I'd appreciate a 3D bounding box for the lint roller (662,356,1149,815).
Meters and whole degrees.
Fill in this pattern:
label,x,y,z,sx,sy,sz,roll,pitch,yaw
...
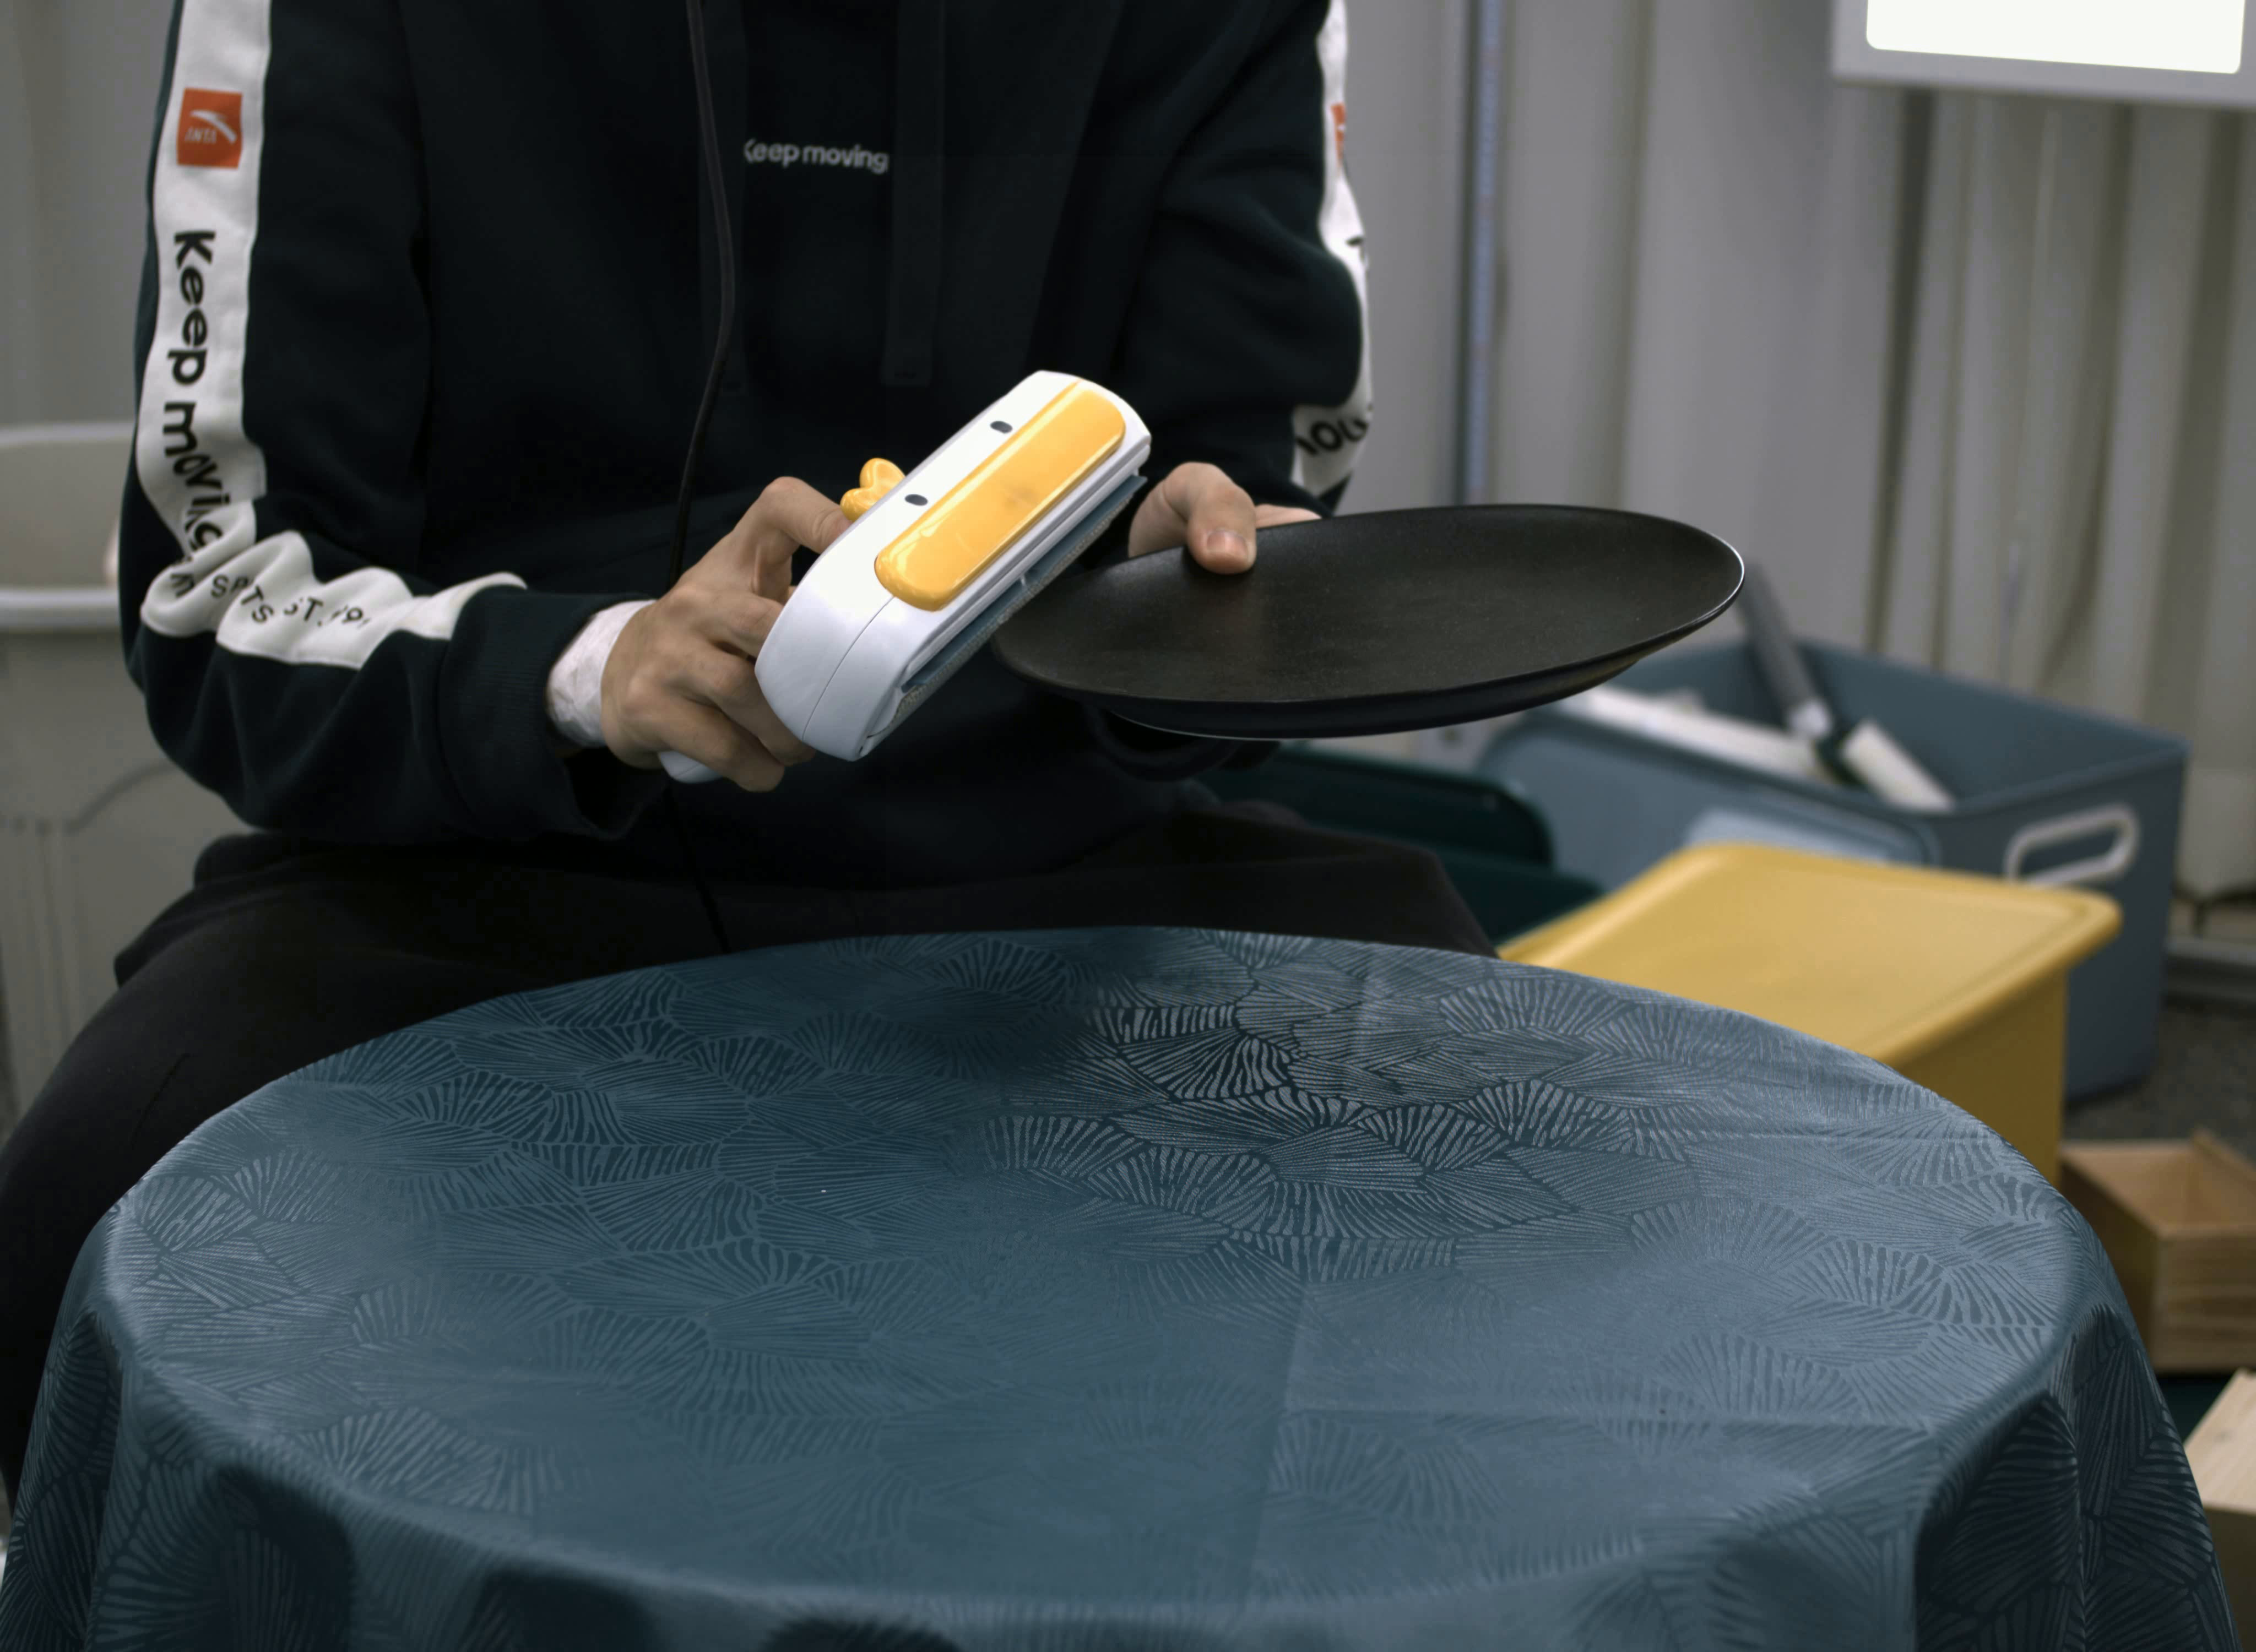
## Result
label,x,y,z,sx,sy,sz,roll,pitch,yaw
lint roller,-0.088,-0.060,1.761,0.074,0.193,0.192,39,37,-2

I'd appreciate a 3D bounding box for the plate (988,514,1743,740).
label,x,y,z,sx,sy,sz,roll,pitch,yaw
plate,0.077,-0.063,1.695,0.243,0.023,0.243,-5,16,2
